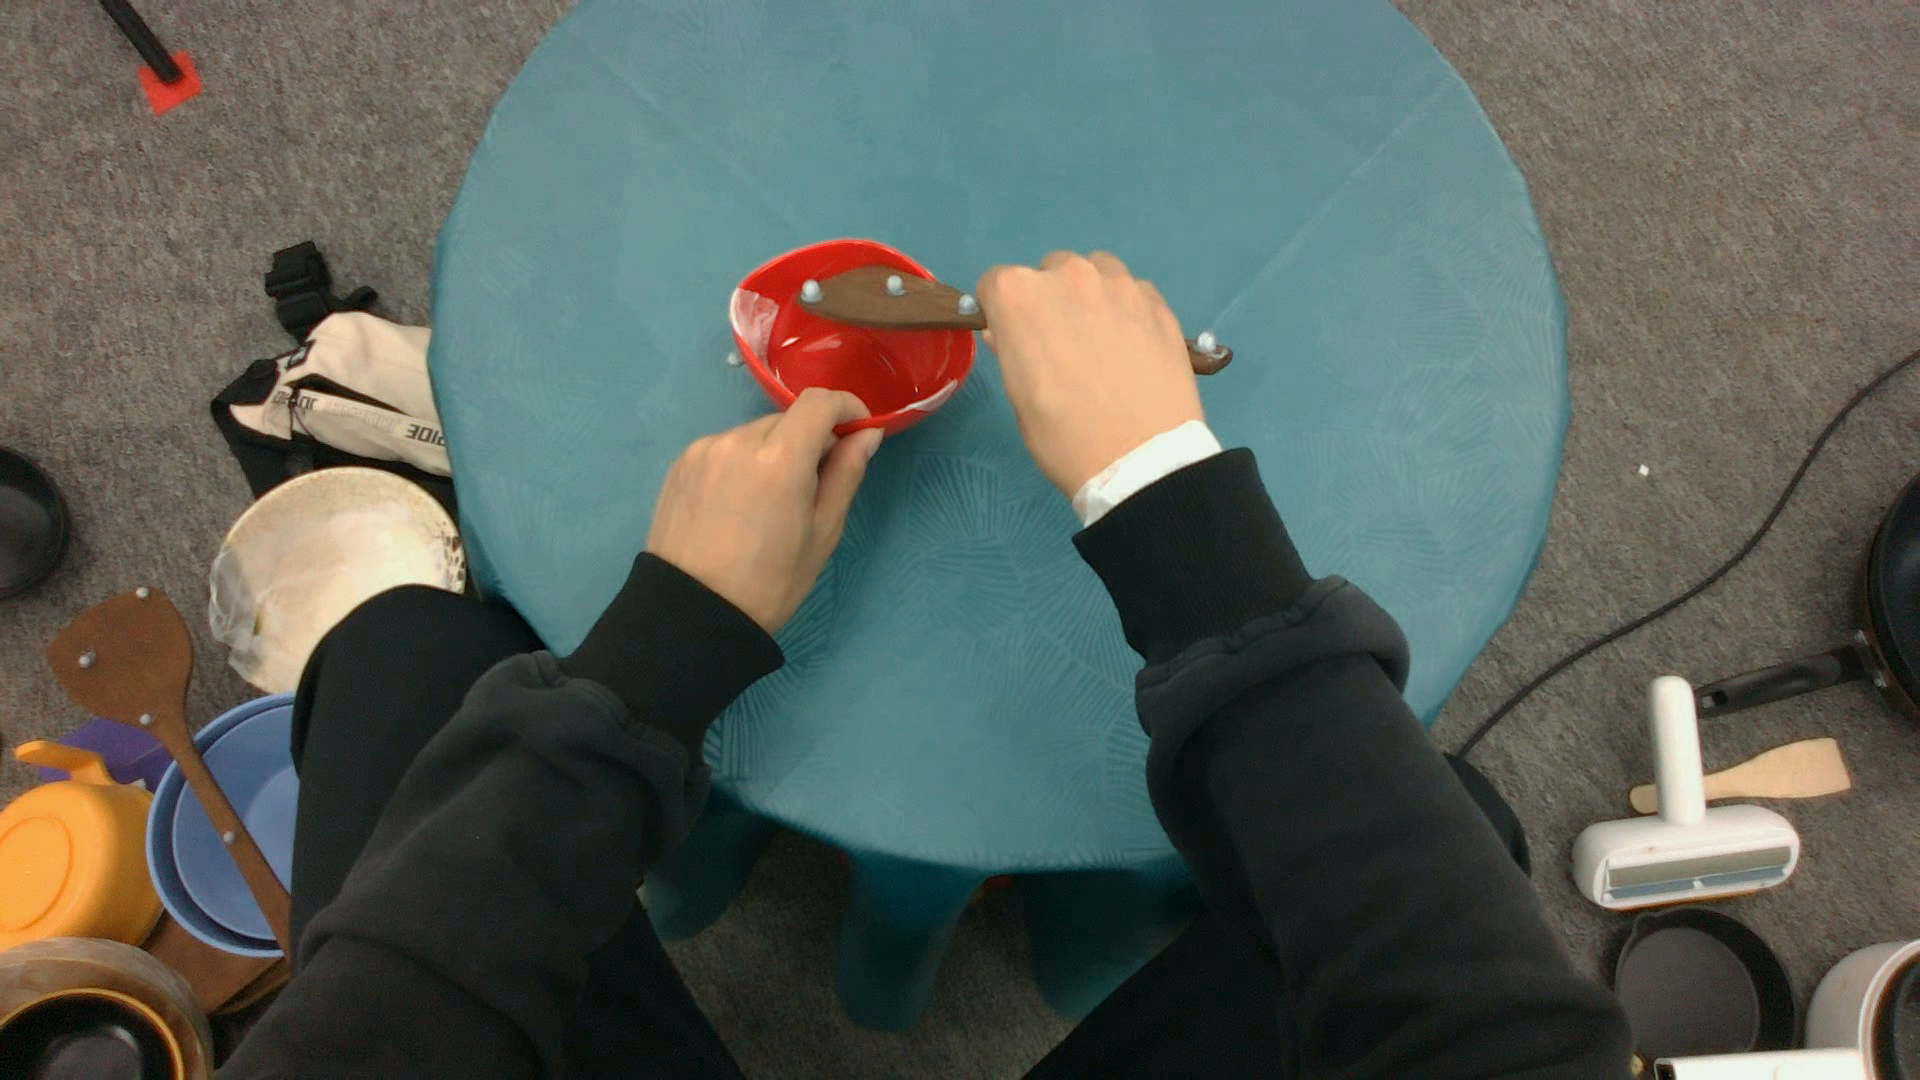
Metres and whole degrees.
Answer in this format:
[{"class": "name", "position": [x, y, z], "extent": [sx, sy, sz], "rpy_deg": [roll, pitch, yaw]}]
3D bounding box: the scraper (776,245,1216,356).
[{"class": "scraper", "position": [0.015, -0.105, 0.619], "extent": [0.211, 0.011, 0.076], "rpy_deg": [15, 38, 31]}]

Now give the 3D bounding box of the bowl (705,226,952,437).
[{"class": "bowl", "position": [-0.067, -0.094, 0.674], "extent": [0.119, 0.051, 0.119], "rpy_deg": [8, 54, -11]}]
